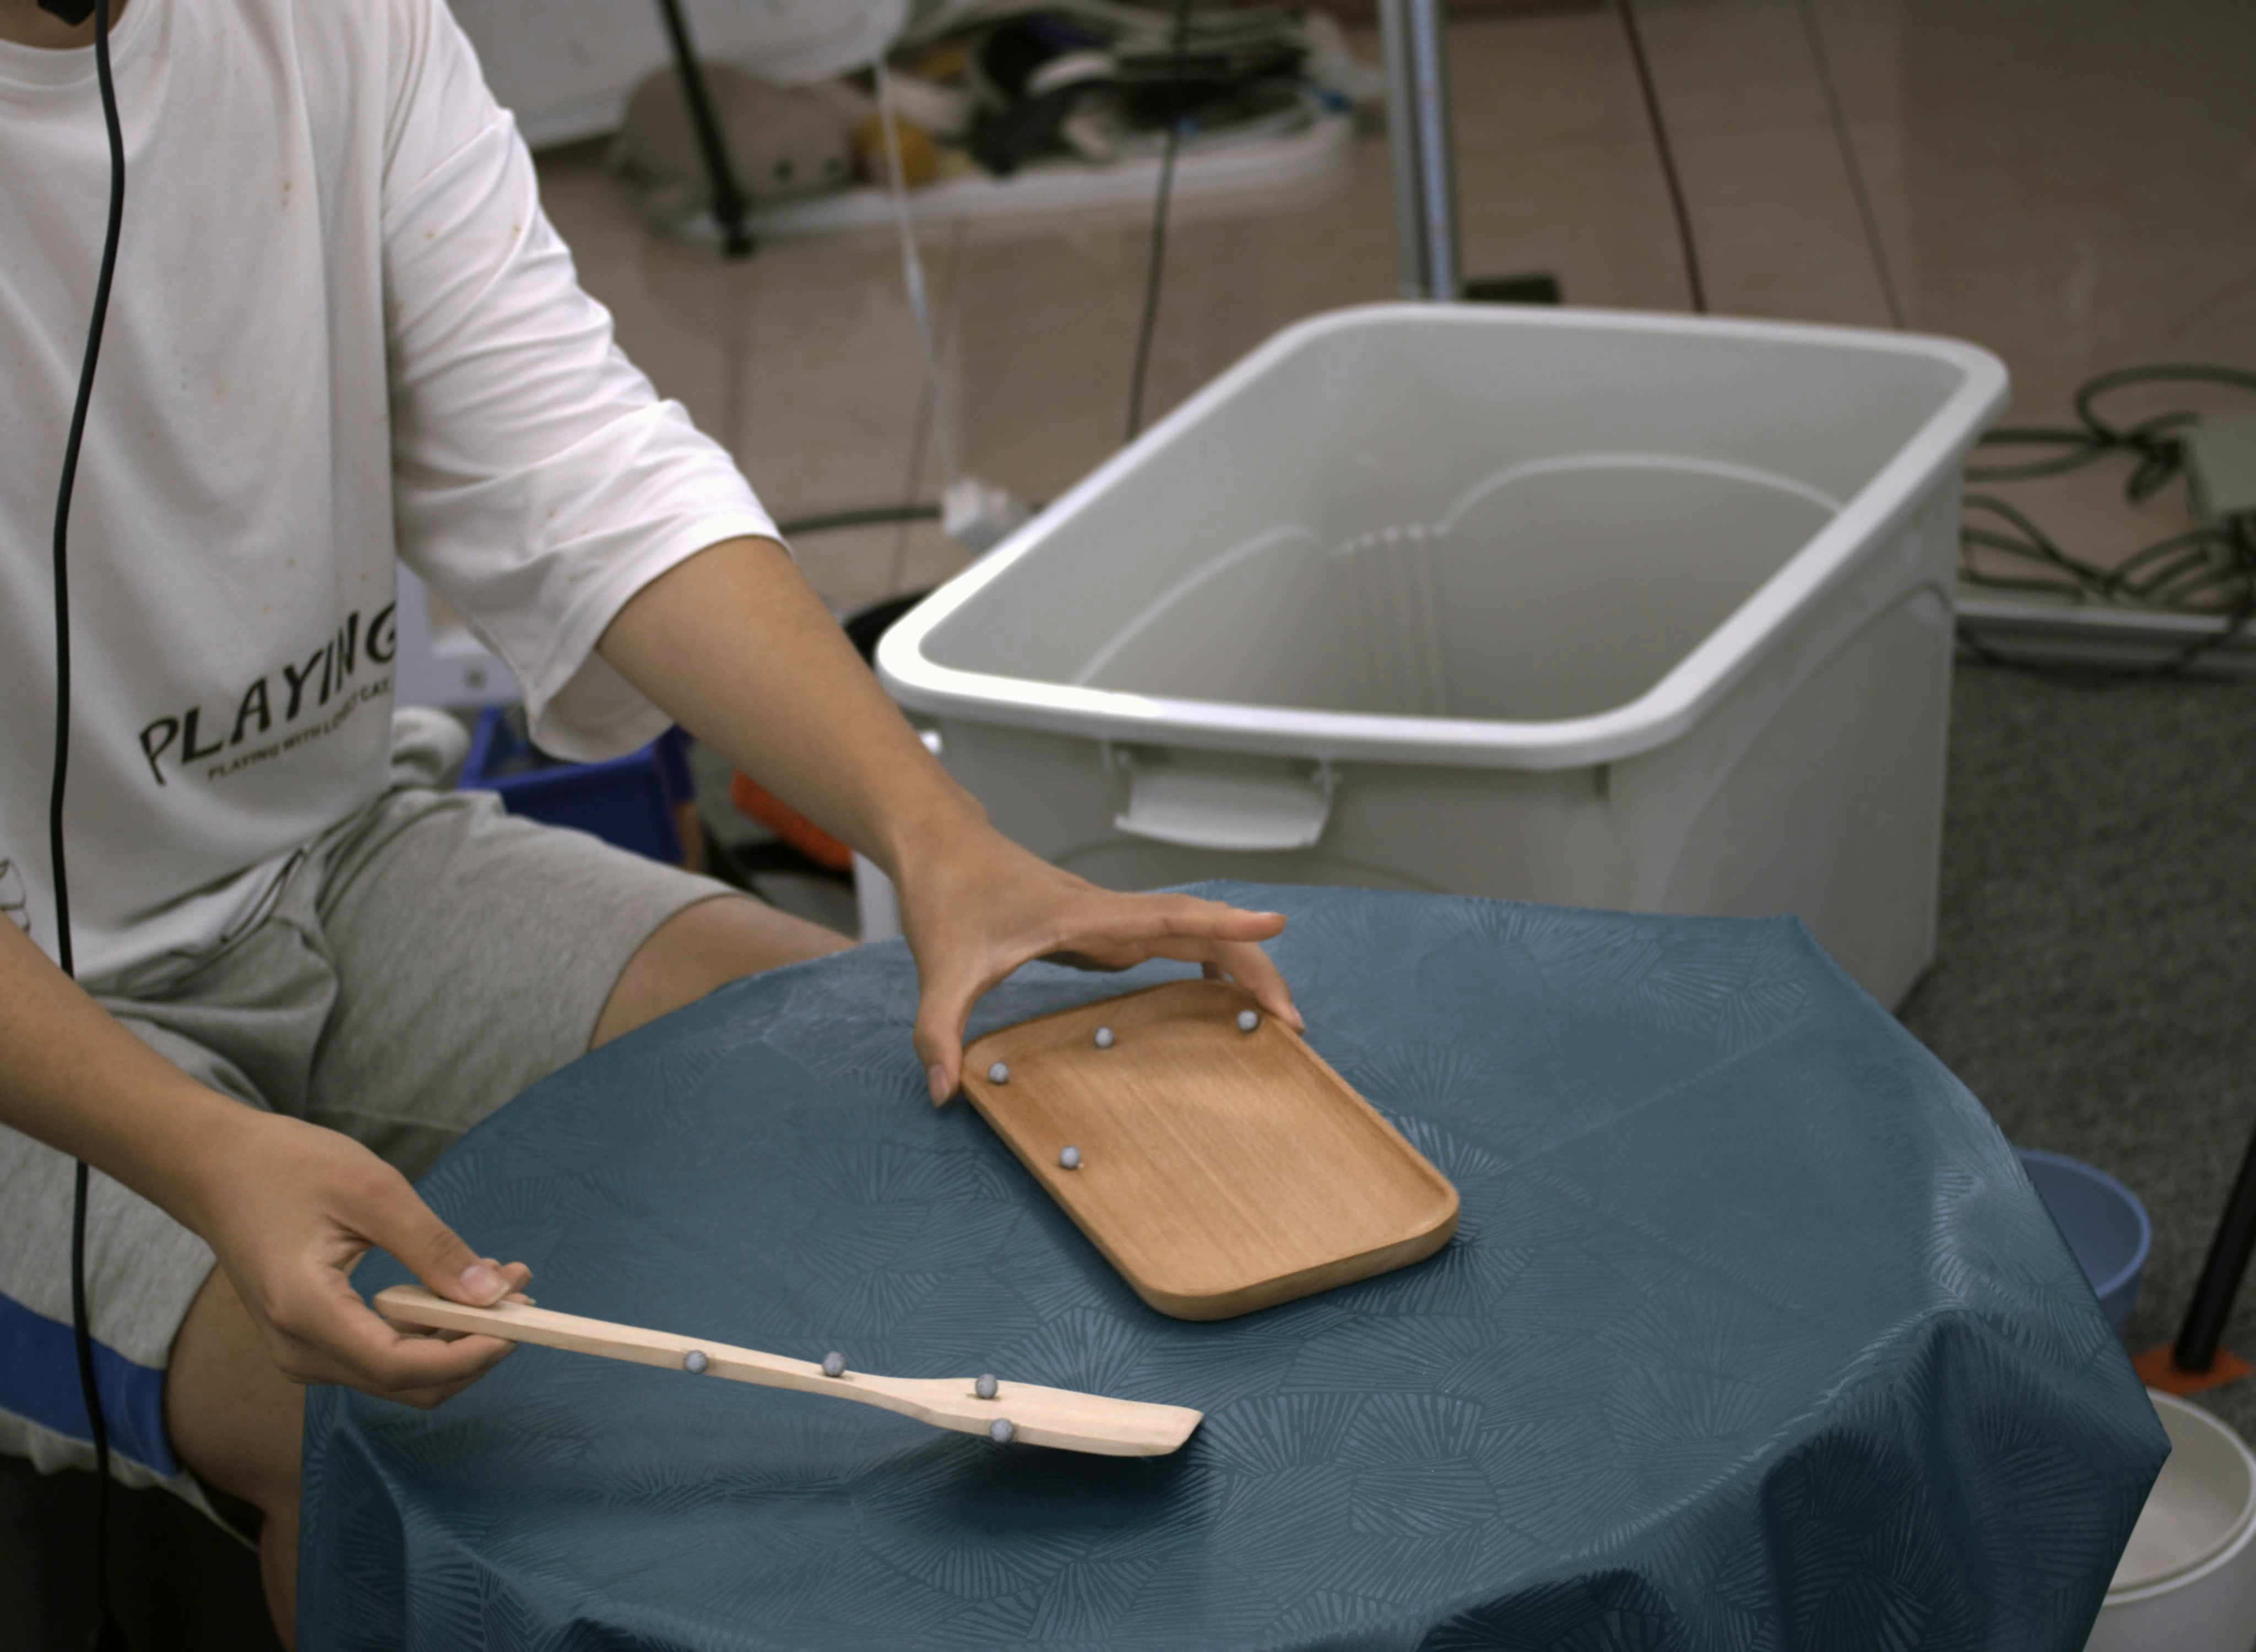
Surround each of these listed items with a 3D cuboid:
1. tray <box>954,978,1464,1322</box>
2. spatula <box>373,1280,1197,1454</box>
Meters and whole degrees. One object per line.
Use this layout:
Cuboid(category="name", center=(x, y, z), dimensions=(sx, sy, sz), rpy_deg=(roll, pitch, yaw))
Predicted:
Cuboid(category="tray", center=(0.028, 0.121, 2.159), dimensions=(0.130, 0.023, 0.247), rpy_deg=(-18, 27, -15))
Cuboid(category="spatula", center=(-0.123, 0.188, 1.978), dimensions=(0.292, 0.011, 0.072), rpy_deg=(9, 7, 8))
